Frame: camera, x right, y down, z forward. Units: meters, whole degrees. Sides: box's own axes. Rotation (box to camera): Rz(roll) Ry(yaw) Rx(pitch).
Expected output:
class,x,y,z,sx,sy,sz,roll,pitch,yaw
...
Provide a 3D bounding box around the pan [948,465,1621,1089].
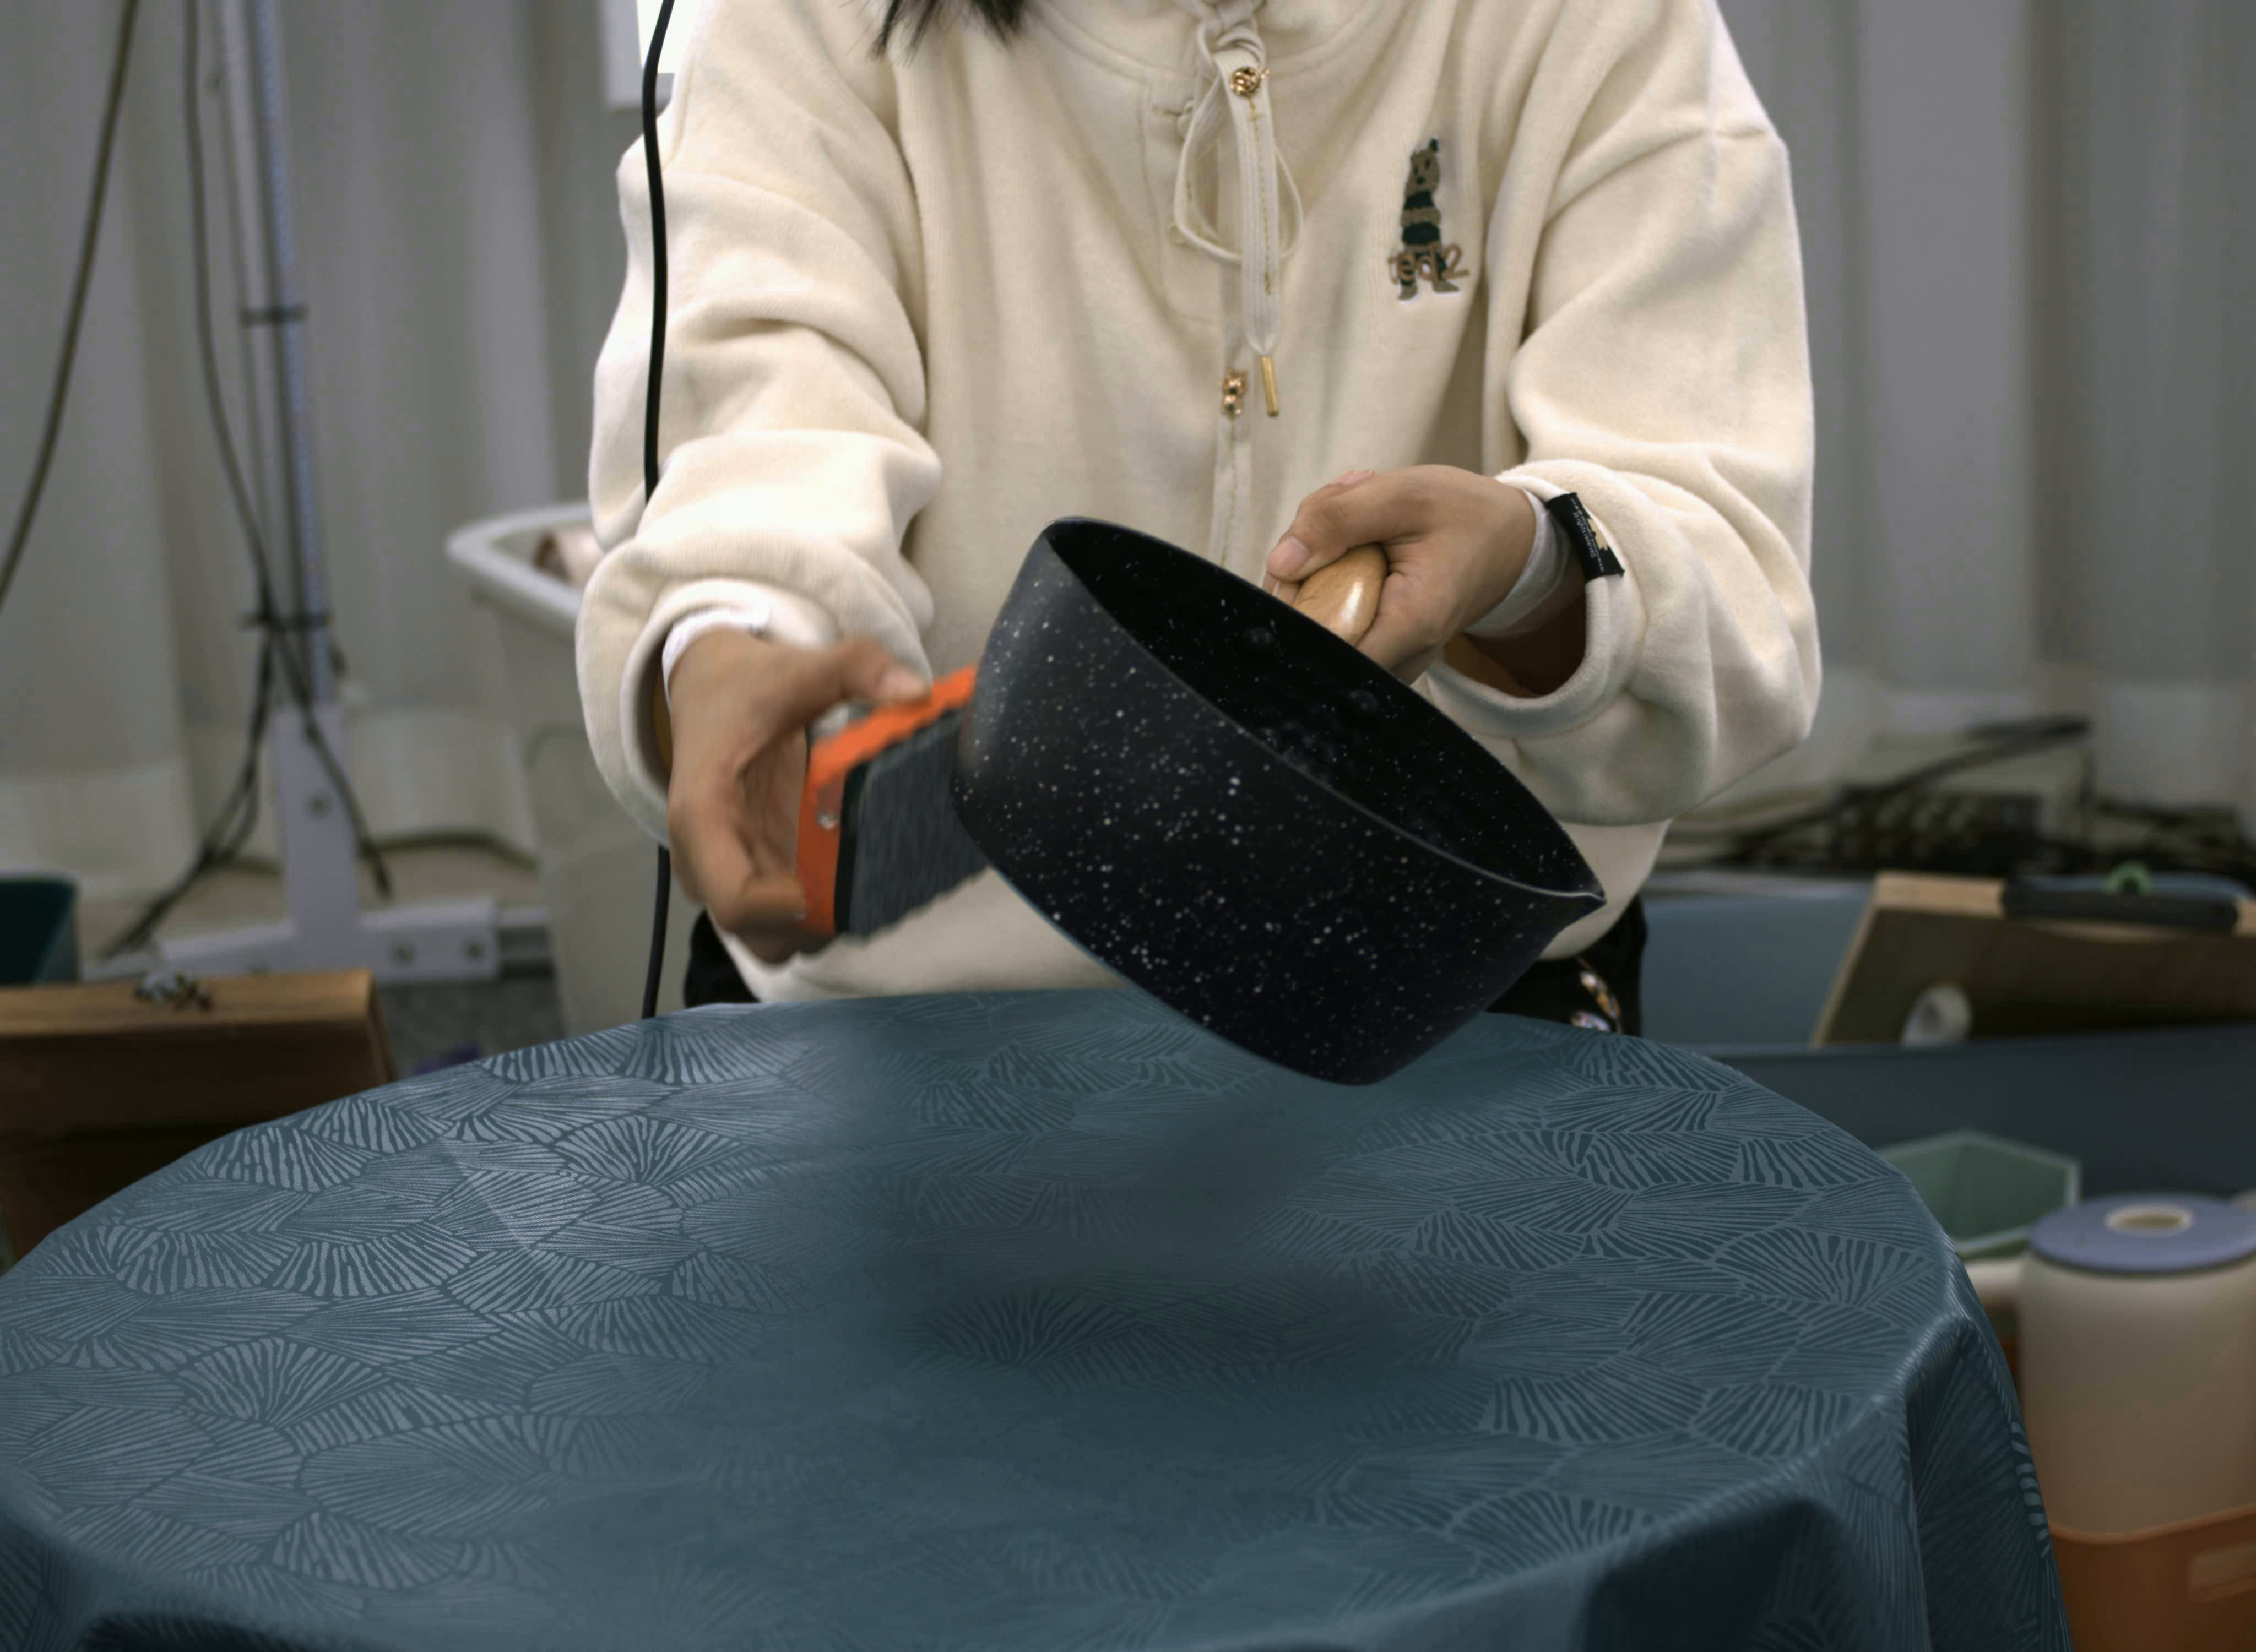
class,x,y,z,sx,sy,sz,roll,pitch,yaw
pan,0.044,-0.032,1.651,0.207,0.108,0.345,32,15,-5

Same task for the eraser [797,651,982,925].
class,x,y,z,sx,sy,sz,roll,pitch,yaw
eraser,-0.062,-0.012,1.622,0.023,0.058,0.108,12,20,23
